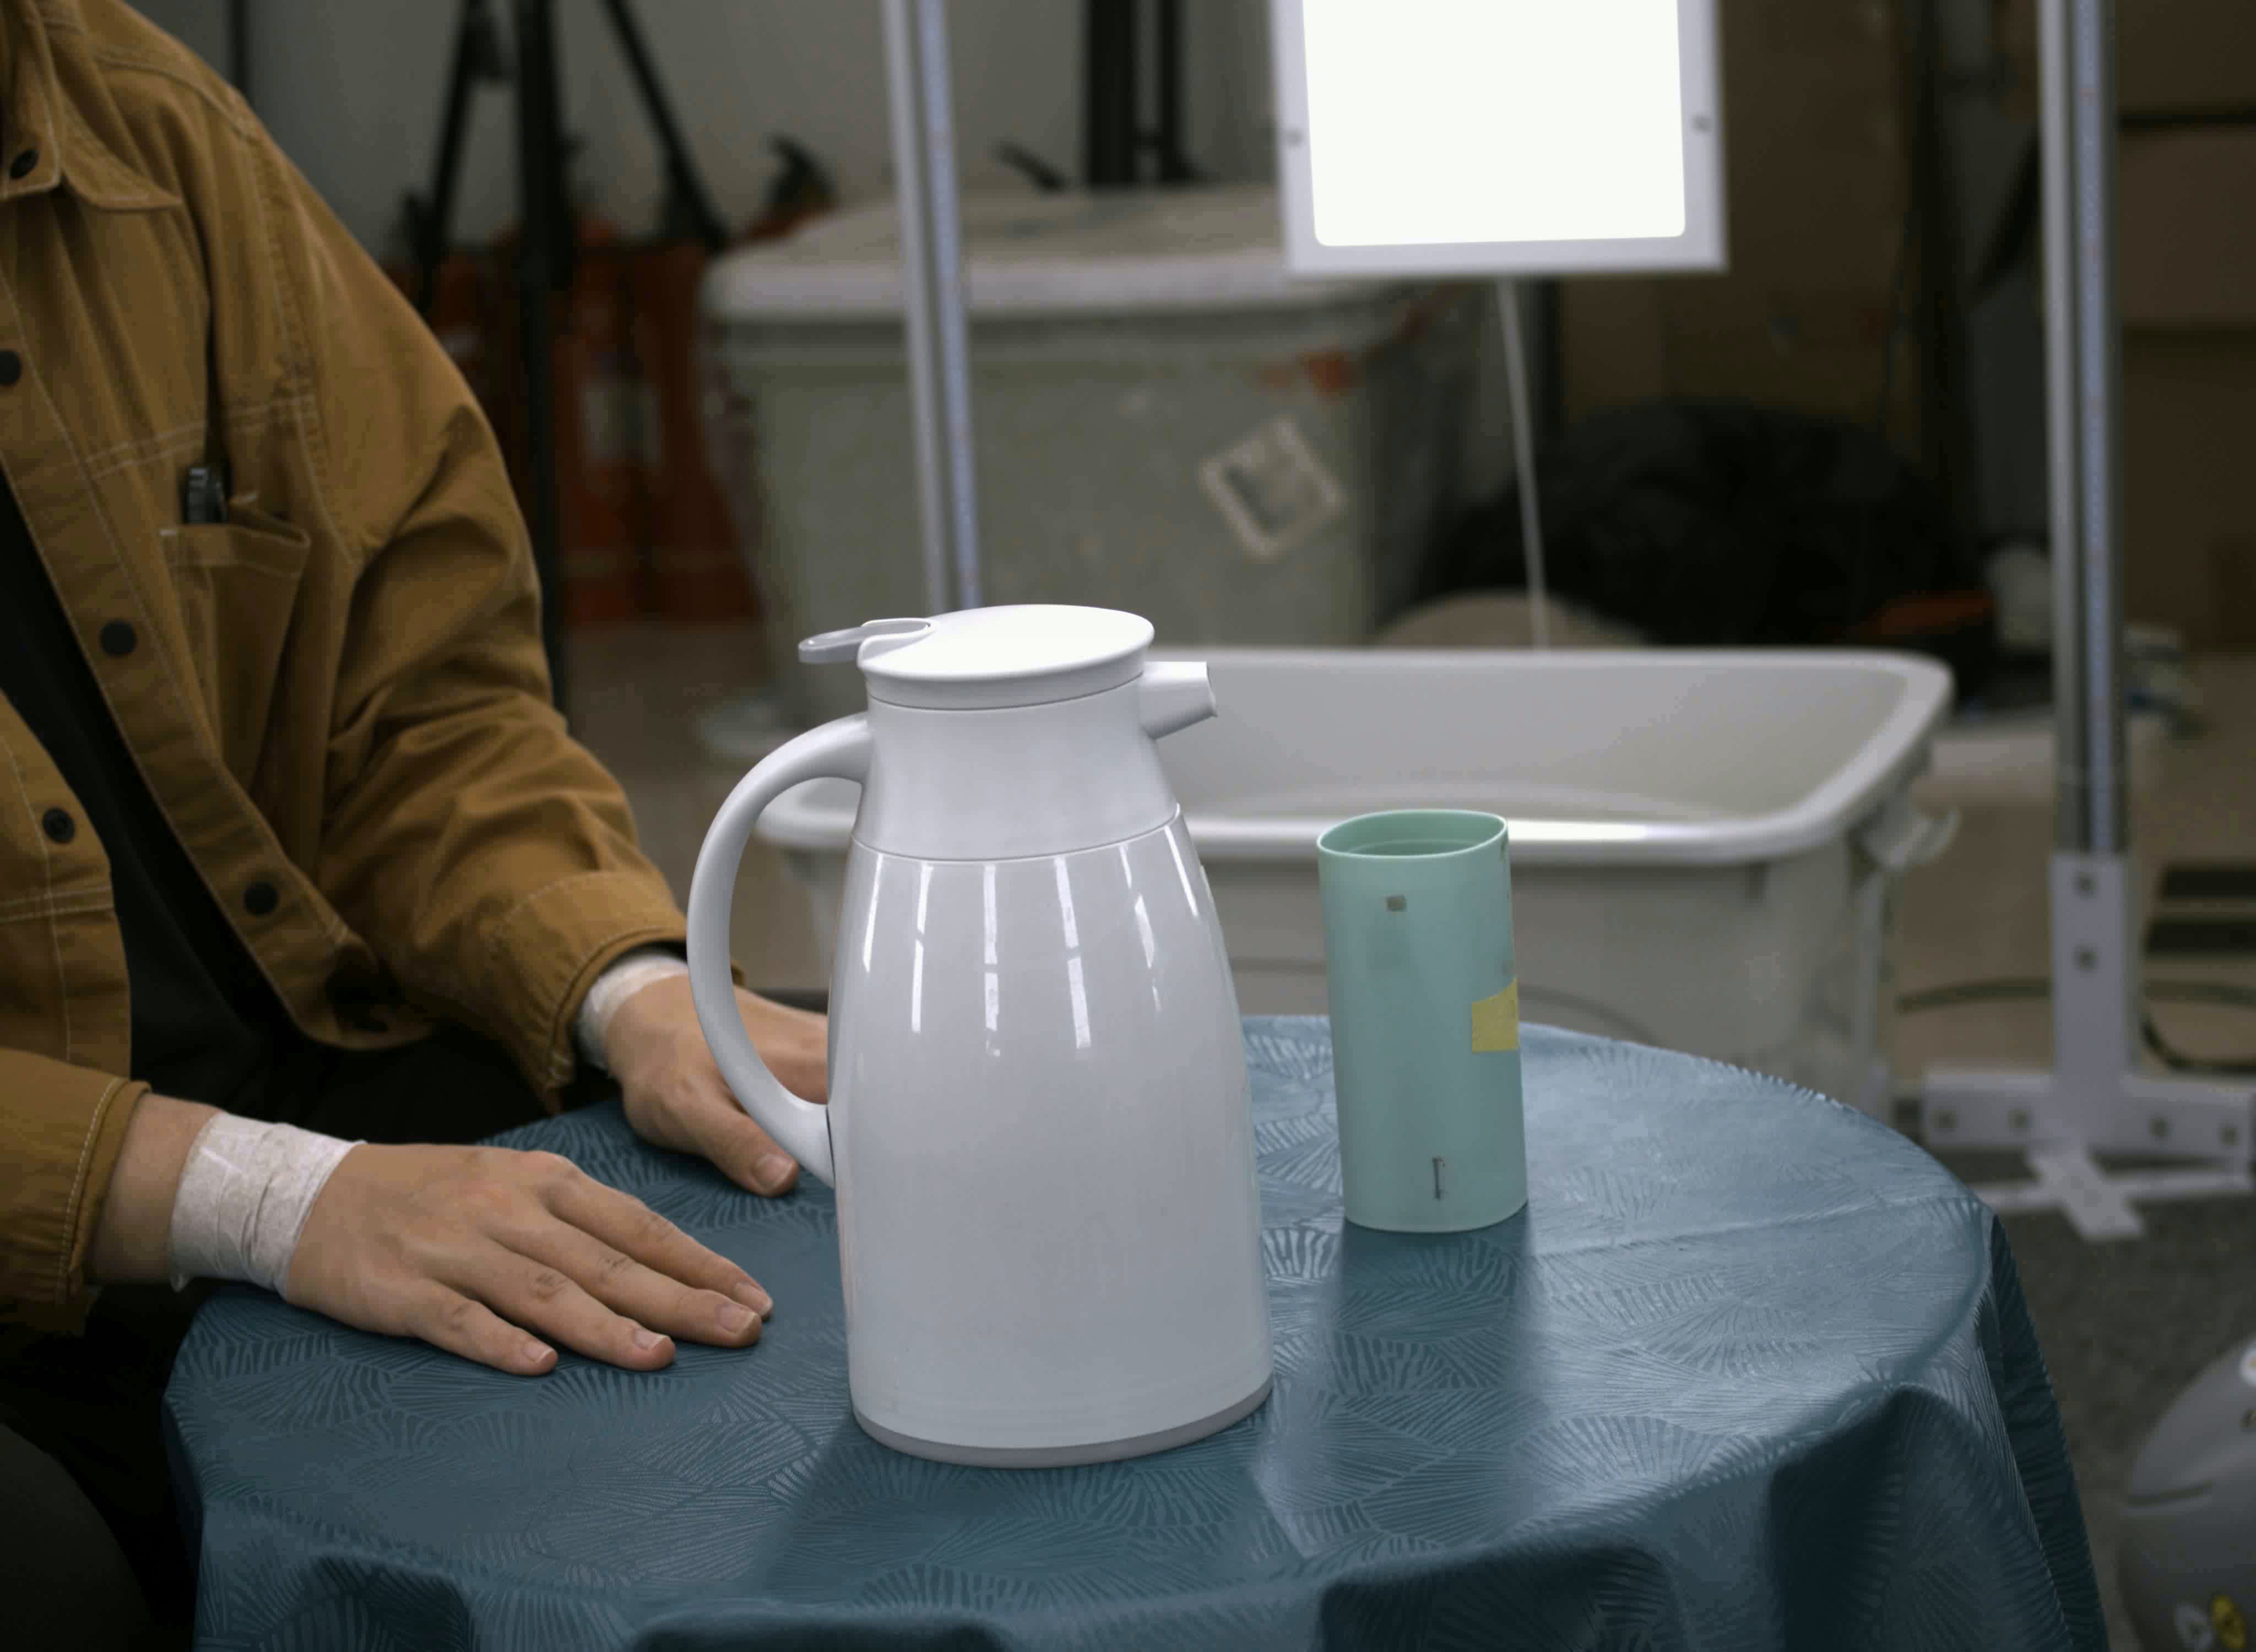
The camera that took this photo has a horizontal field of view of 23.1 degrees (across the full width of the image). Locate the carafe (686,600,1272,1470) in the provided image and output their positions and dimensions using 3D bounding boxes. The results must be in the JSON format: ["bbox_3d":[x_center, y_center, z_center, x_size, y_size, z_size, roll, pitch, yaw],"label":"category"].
[{"bbox_3d":[-0.048,0.058,1.675,0.167,0.249,0.132,-5,14,2],"label":"carafe"}]

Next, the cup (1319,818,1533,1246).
[{"bbox_3d":[0.100,0.068,1.840,0.066,0.133,0.066,-5,13,0],"label":"cup"}]
